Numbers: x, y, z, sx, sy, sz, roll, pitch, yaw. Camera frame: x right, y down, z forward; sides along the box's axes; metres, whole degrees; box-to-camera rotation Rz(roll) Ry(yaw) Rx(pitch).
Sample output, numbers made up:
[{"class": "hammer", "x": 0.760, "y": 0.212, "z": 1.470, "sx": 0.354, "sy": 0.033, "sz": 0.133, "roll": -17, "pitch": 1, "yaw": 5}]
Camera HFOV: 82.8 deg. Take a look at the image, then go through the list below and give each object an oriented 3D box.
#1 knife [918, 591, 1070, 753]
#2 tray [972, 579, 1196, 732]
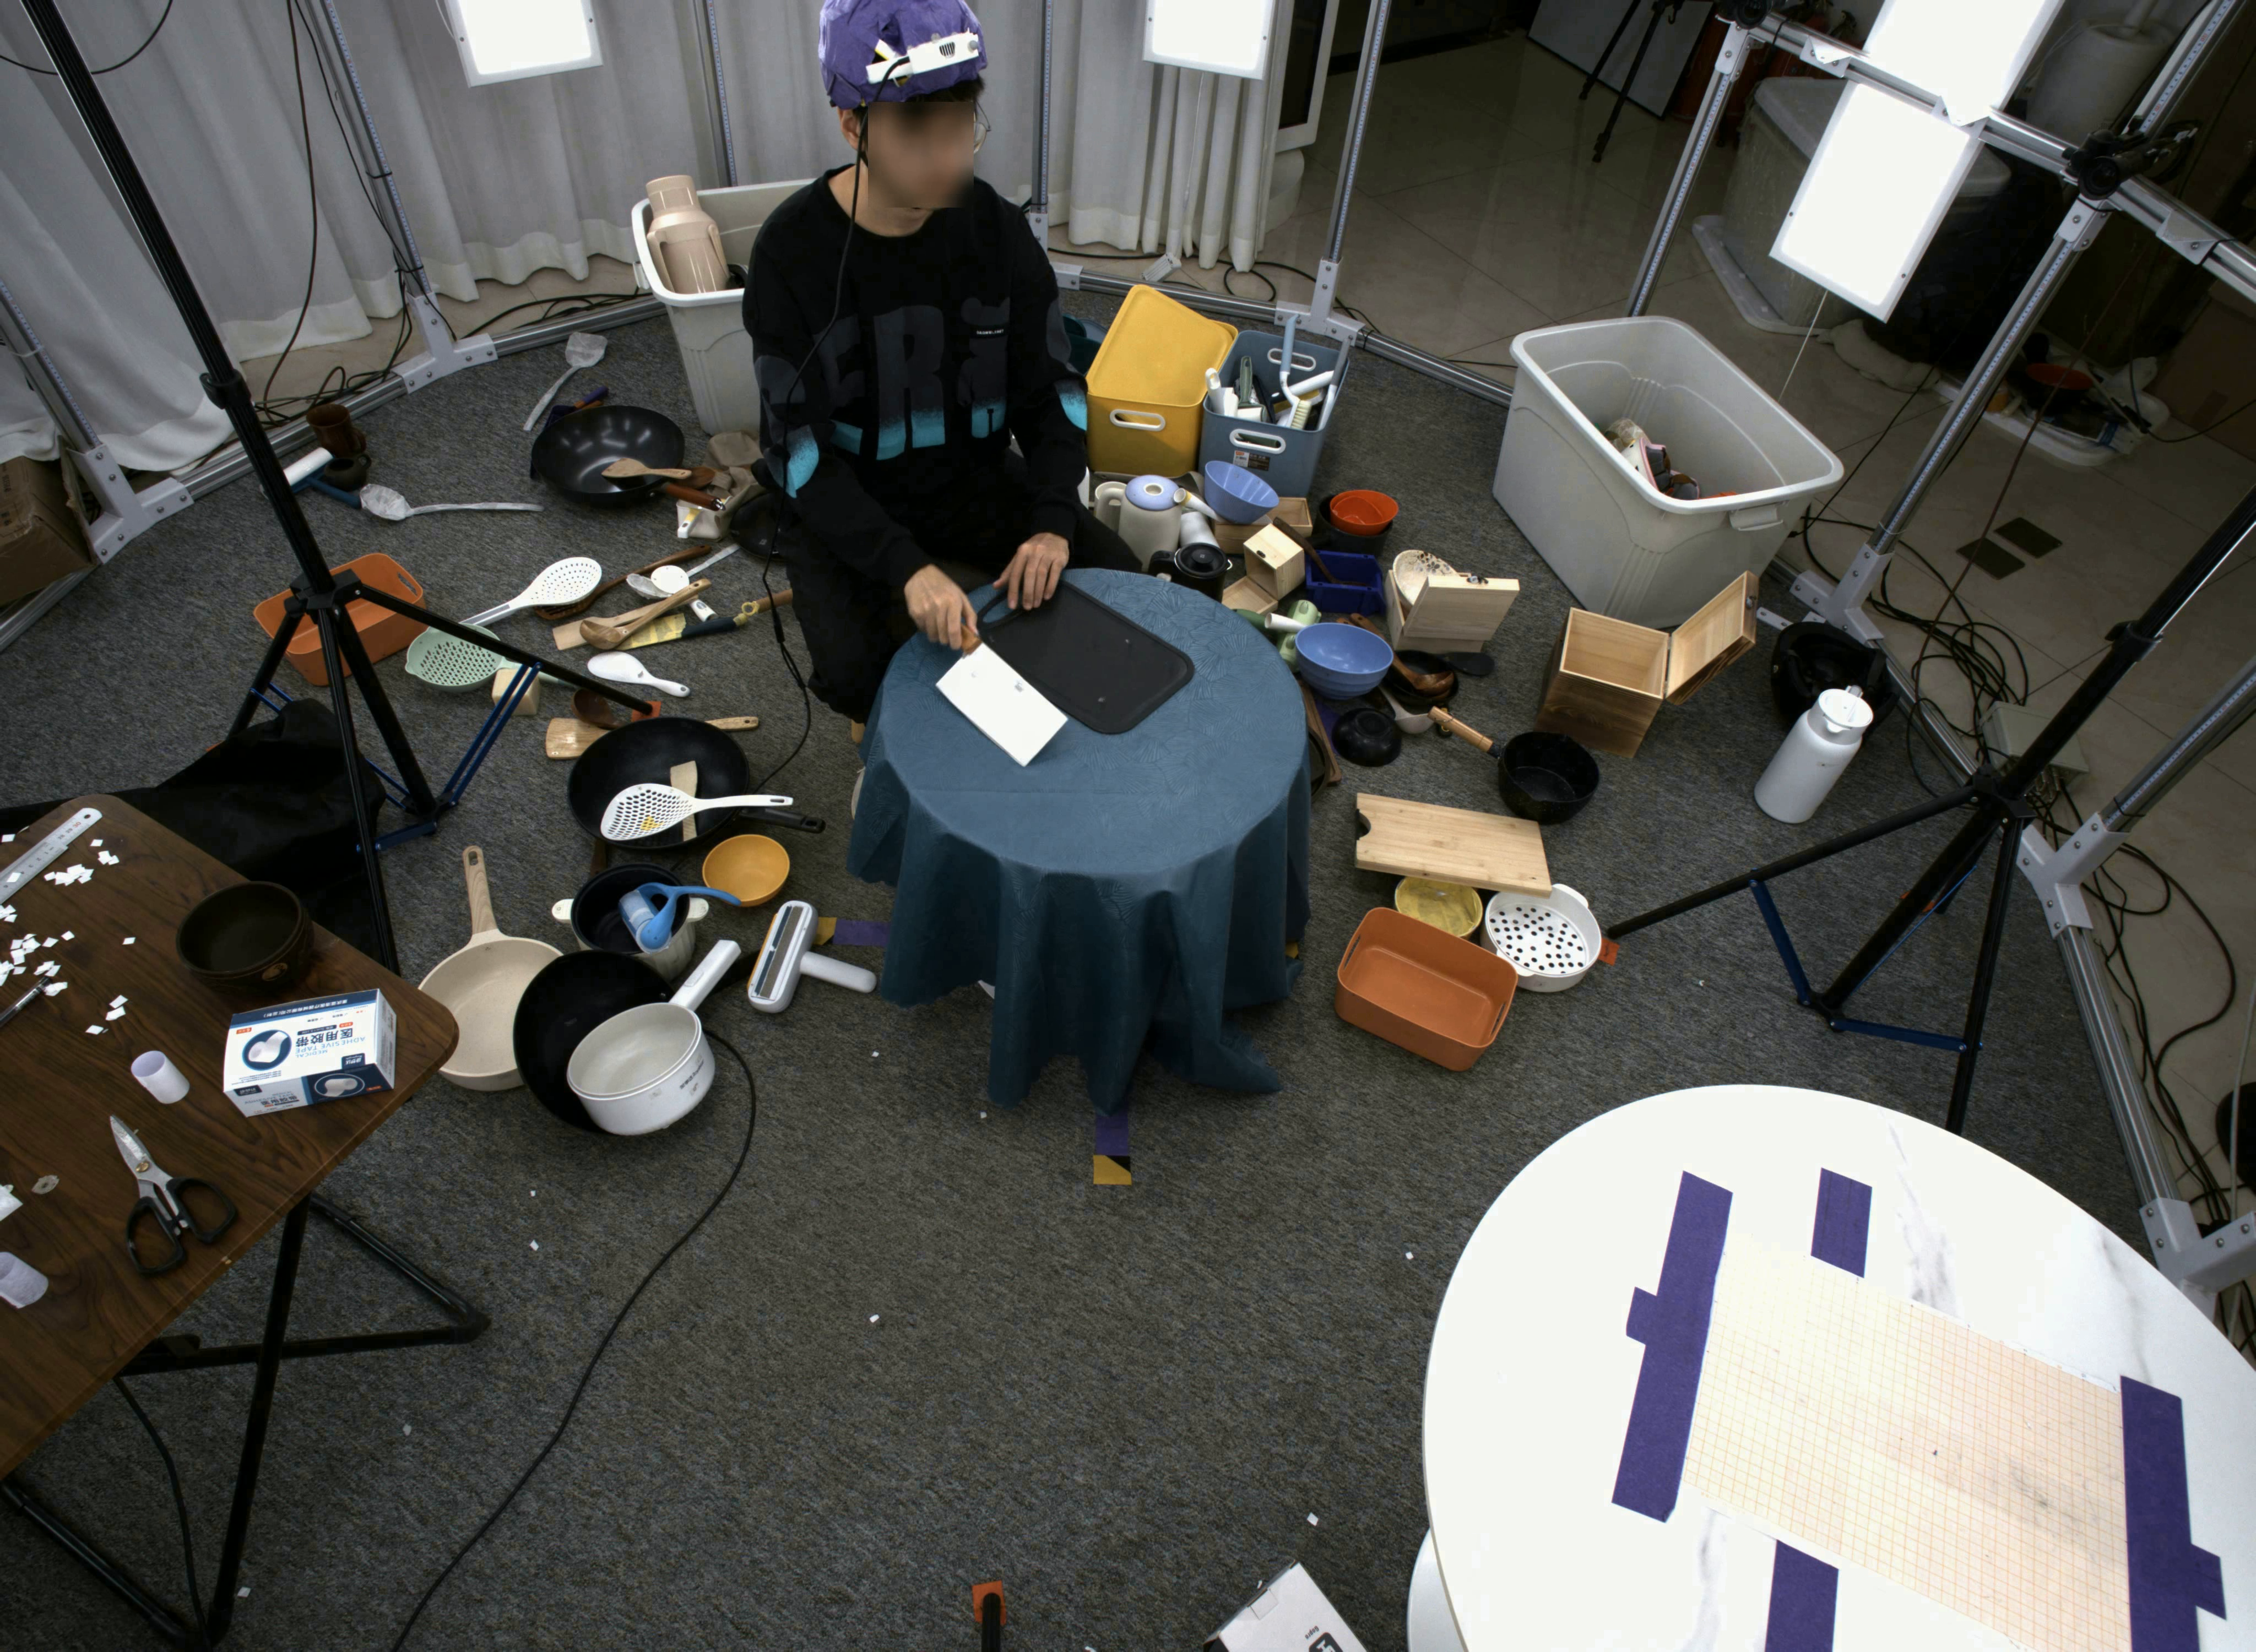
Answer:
[{"class": "knife", "x": -0.206, "y": -0.212, "z": 1.792, "sx": 0.093, "sy": 0.020, "sz": 0.310, "roll": -47, "pitch": 66, "yaw": 2}, {"class": "tray", "x": -0.073, "y": -0.260, "z": 1.885, "sx": 0.330, "sy": 0.009, "sz": 0.213, "roll": 35, "pitch": 56, "yaw": 24}]
